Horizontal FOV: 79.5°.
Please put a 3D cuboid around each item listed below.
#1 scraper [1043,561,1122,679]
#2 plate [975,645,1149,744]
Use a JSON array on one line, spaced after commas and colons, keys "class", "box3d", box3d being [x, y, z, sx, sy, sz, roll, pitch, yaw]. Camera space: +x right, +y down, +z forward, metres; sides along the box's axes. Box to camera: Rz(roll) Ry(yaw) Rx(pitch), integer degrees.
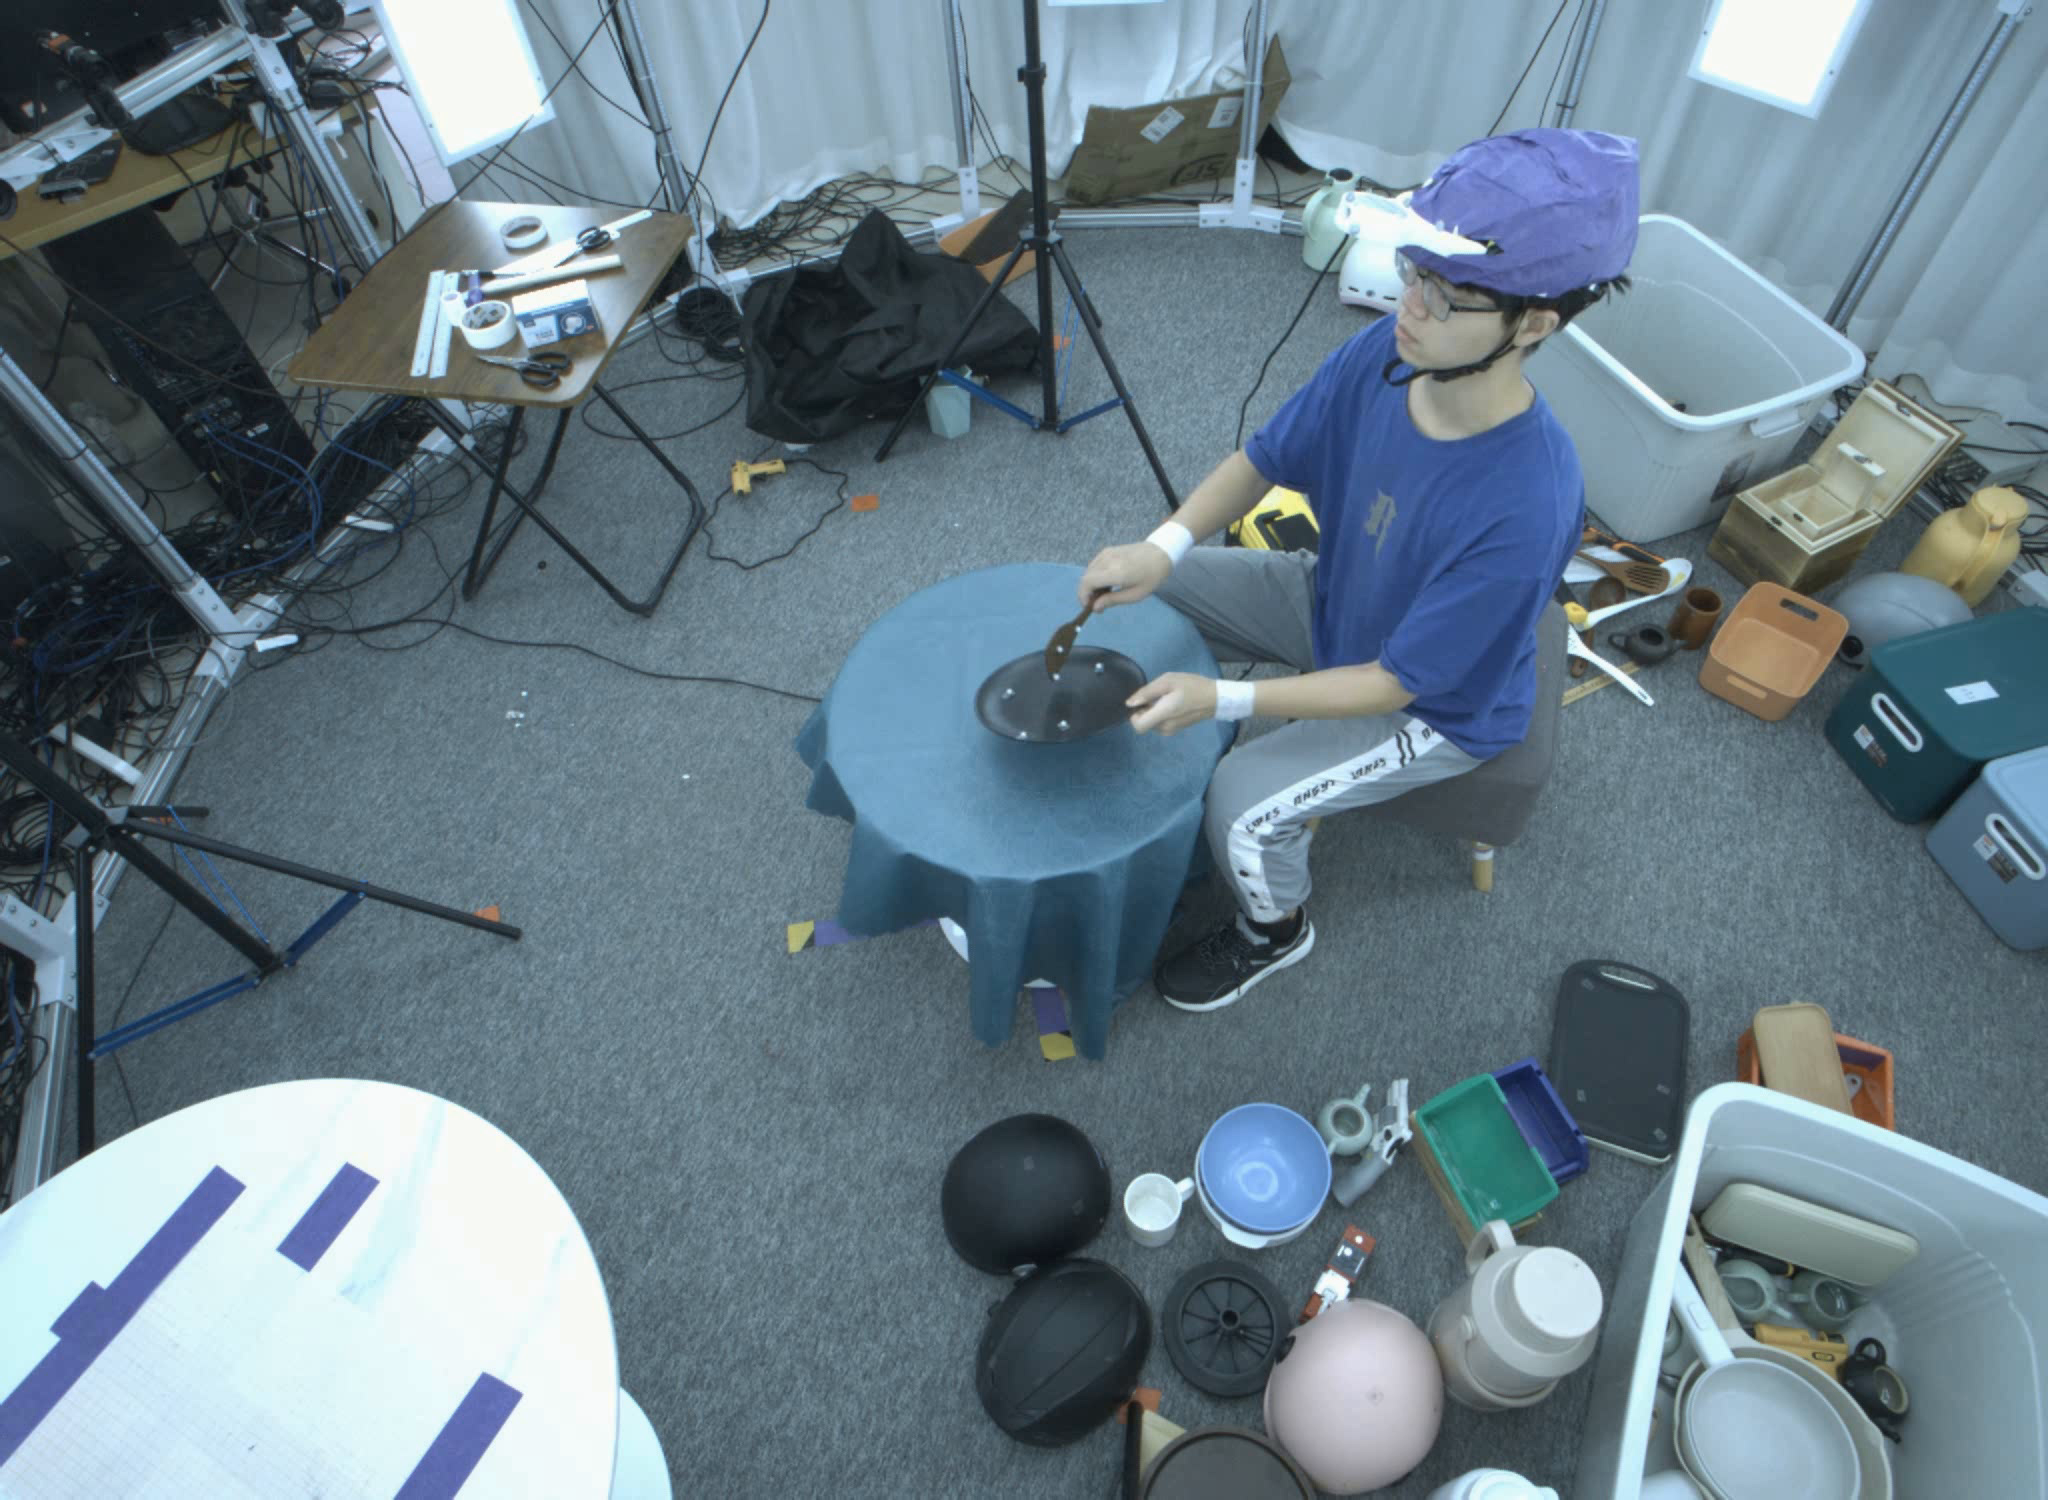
[{"class": "scraper", "box3d": [0.083, -0.192, 1.737, 0.010, 0.077, 0.212, 23, 61, 25]}, {"class": "plate", "box3d": [0.052, -0.074, 1.707, 0.243, 0.024, 0.242, -6, 35, 5]}]
